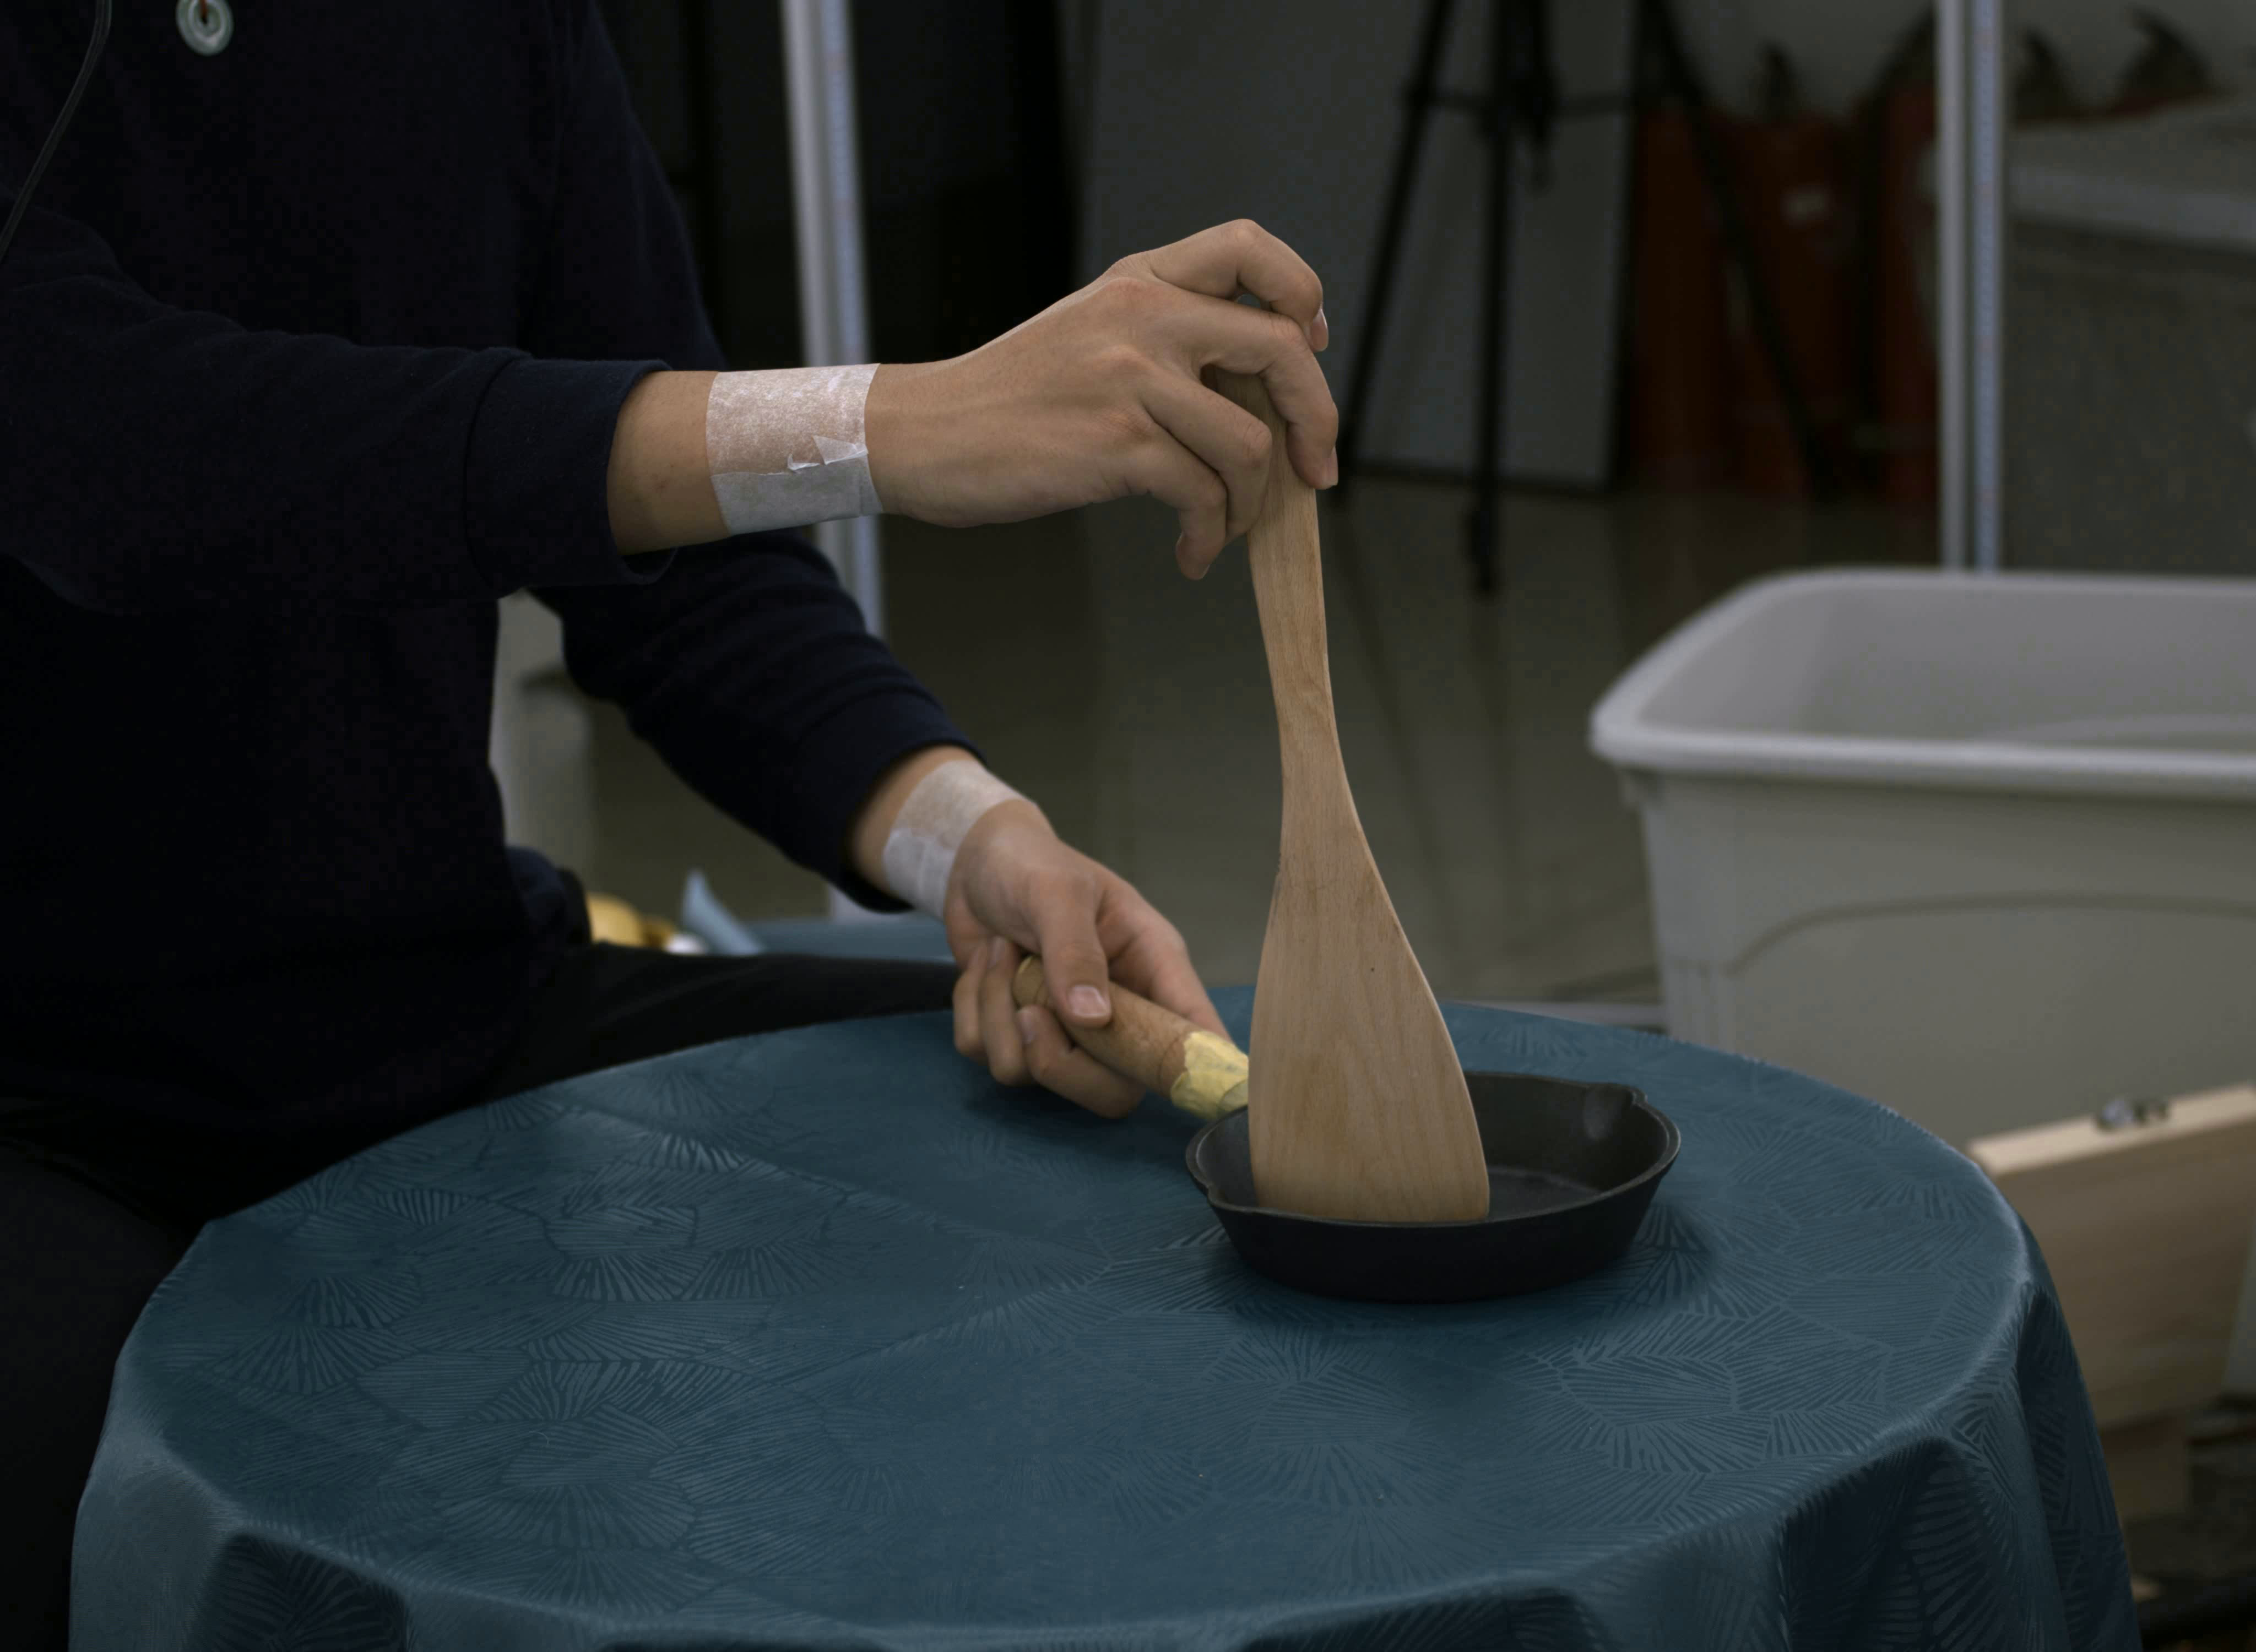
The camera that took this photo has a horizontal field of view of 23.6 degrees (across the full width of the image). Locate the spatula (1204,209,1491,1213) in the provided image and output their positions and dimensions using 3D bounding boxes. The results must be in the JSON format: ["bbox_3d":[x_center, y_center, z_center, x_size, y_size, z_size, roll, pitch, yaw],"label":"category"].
[{"bbox_3d":[0.056,-0.024,1.668,0.080,0.331,0.016,-6,4,22],"label":"spatula"}]

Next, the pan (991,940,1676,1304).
[{"bbox_3d":[0.050,0.092,1.766,0.165,0.050,0.328,-12,17,-31],"label":"pan"}]
